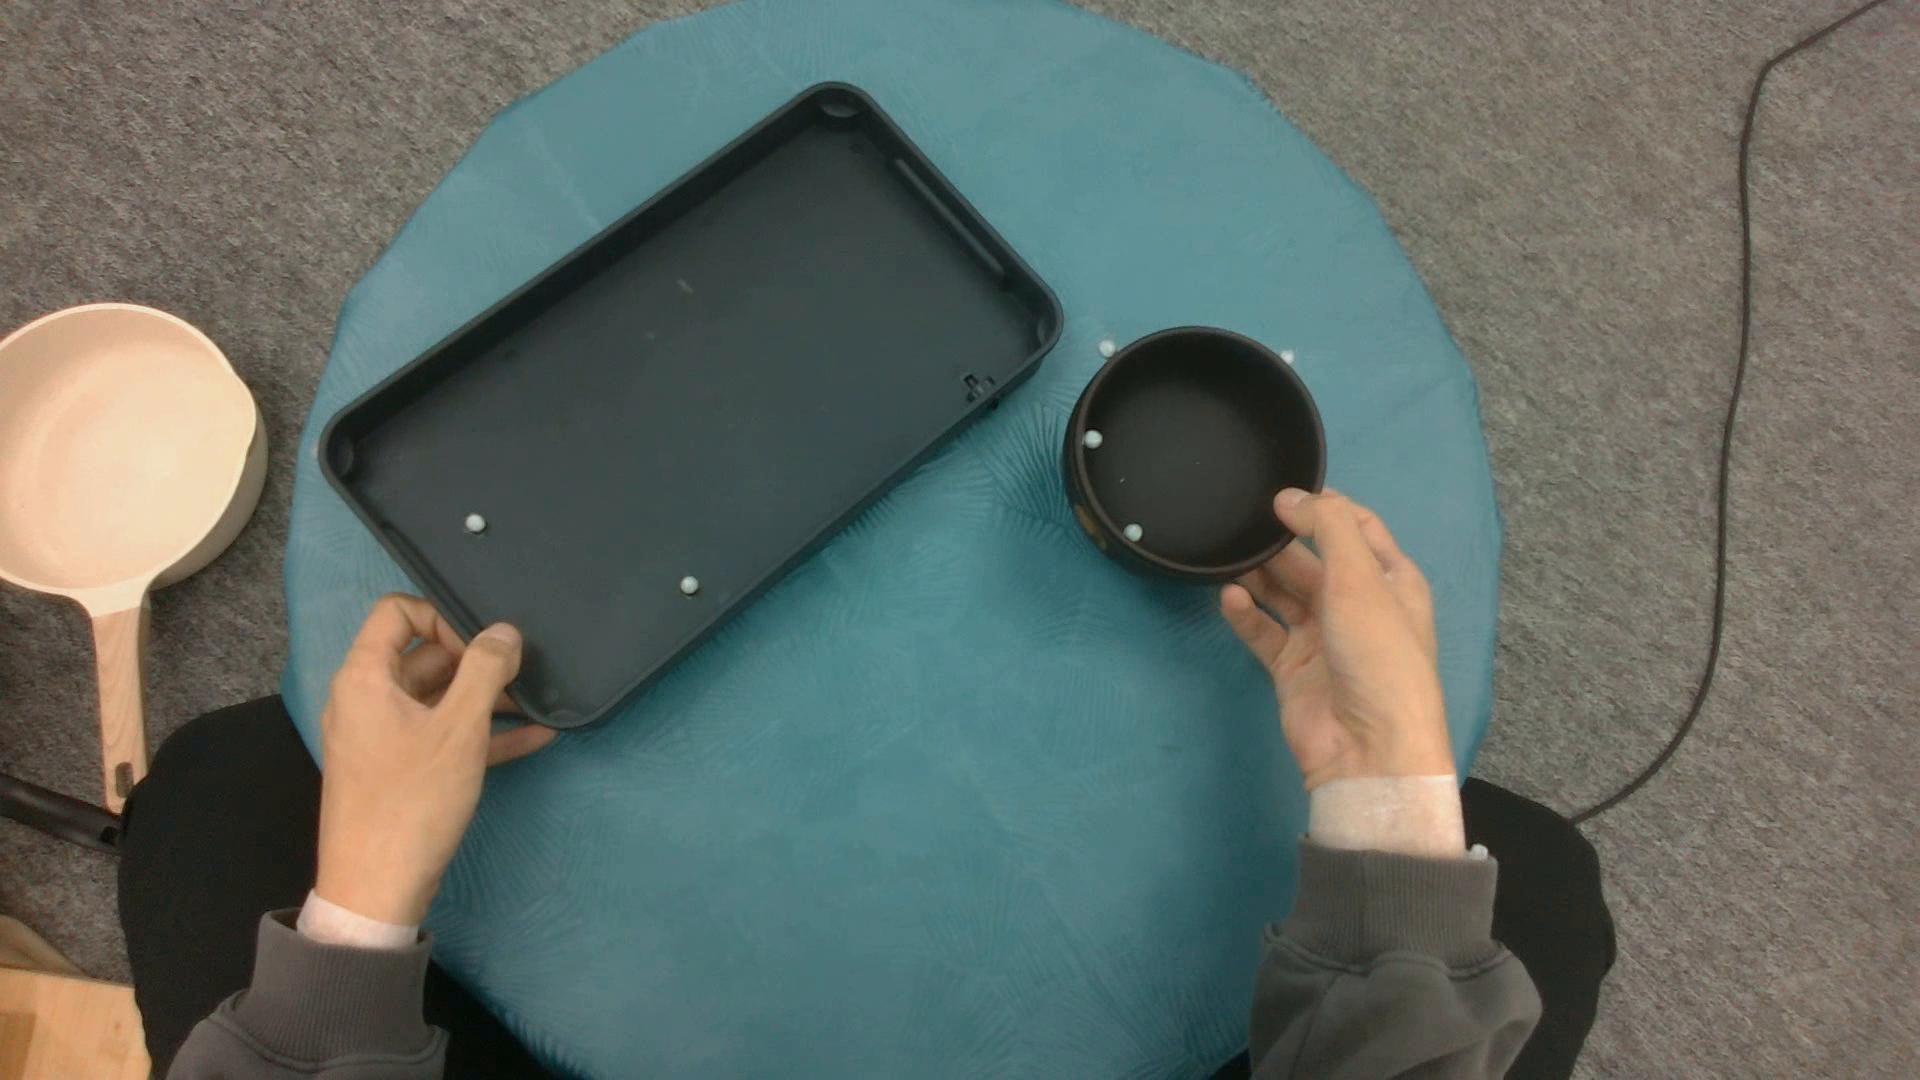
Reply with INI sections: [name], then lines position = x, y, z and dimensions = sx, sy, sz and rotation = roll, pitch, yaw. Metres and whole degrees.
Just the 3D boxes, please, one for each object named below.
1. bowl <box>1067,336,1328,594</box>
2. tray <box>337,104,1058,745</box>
[bowl]
position = 0.107, -0.031, 0.653
dimensions = 0.118, 0.069, 0.118
rotation = 1, 79, -7
[tray]
position = -0.119, -0.064, 0.675
dimensions = 0.319, 0.037, 0.184
rotation = -42, 83, -17
